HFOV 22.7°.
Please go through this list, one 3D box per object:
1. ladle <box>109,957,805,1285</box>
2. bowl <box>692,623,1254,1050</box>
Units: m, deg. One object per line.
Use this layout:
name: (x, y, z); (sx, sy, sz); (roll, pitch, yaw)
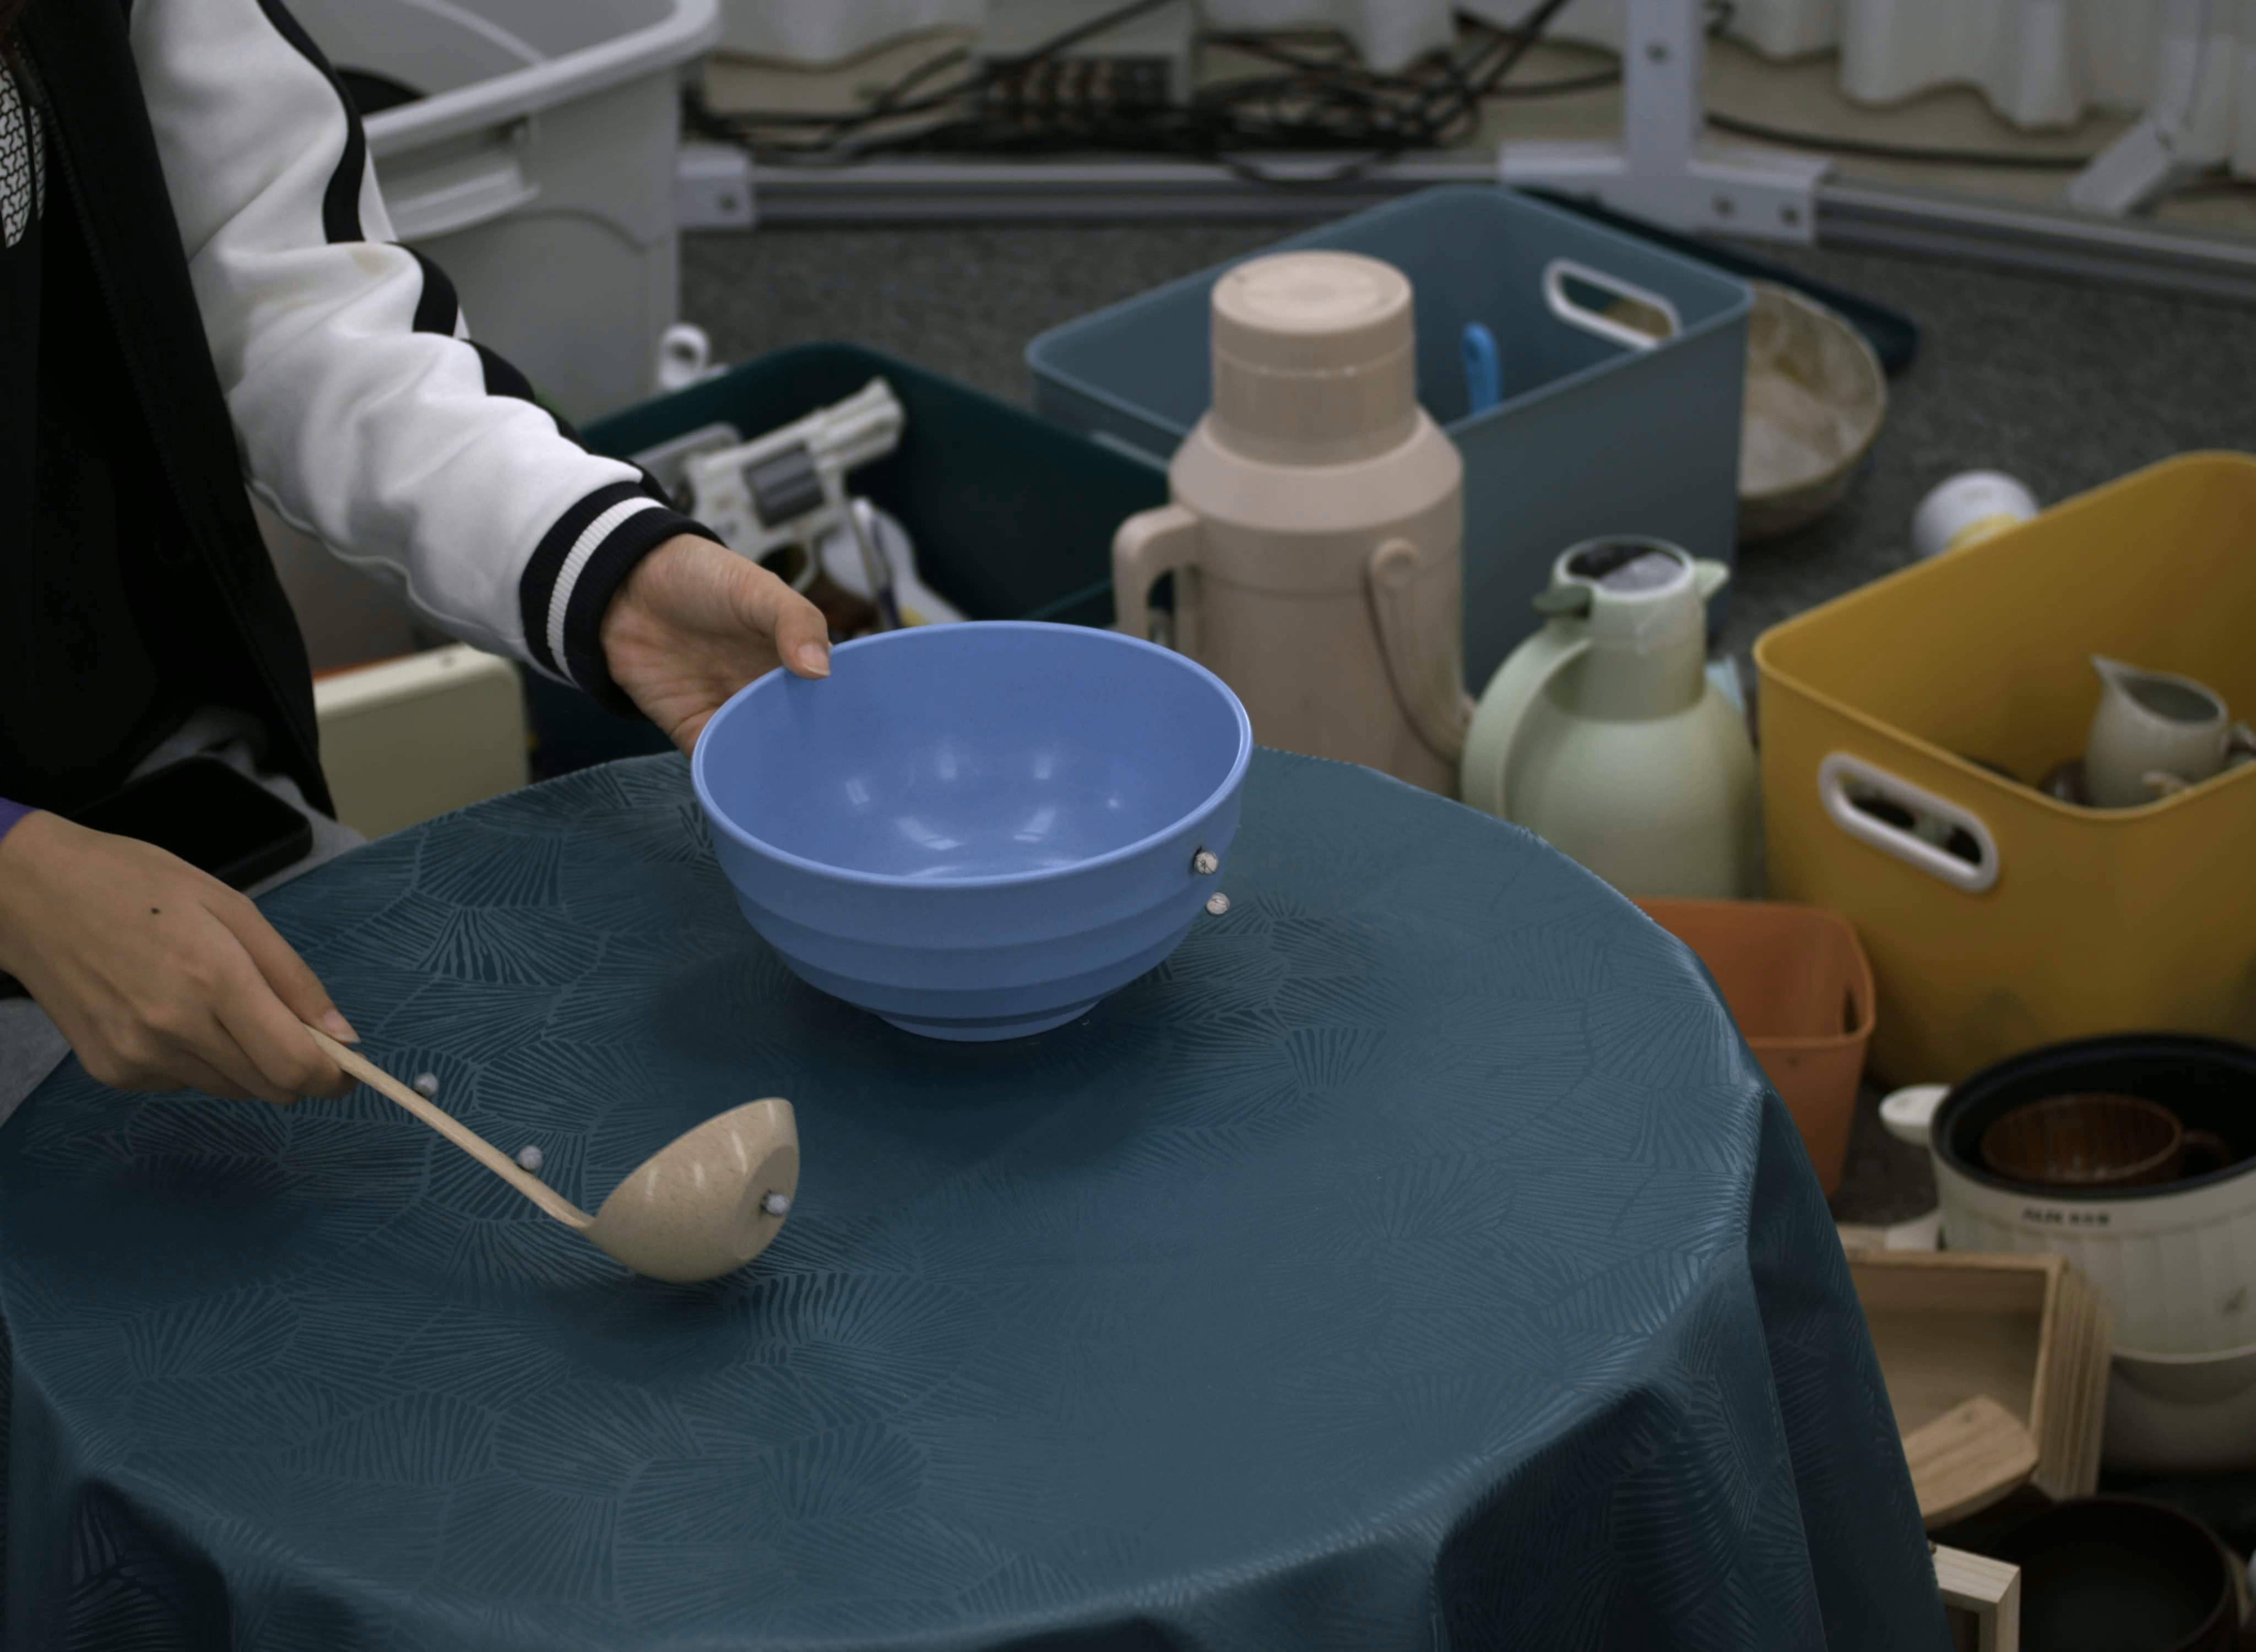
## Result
ladle: (-0.219, 0.071, 1.840); (0.254, 0.073, 0.072); (28, 1, 20)
bowl: (-0.051, 0.015, 1.974); (0.195, 0.094, 0.199); (-2, 28, 2)
